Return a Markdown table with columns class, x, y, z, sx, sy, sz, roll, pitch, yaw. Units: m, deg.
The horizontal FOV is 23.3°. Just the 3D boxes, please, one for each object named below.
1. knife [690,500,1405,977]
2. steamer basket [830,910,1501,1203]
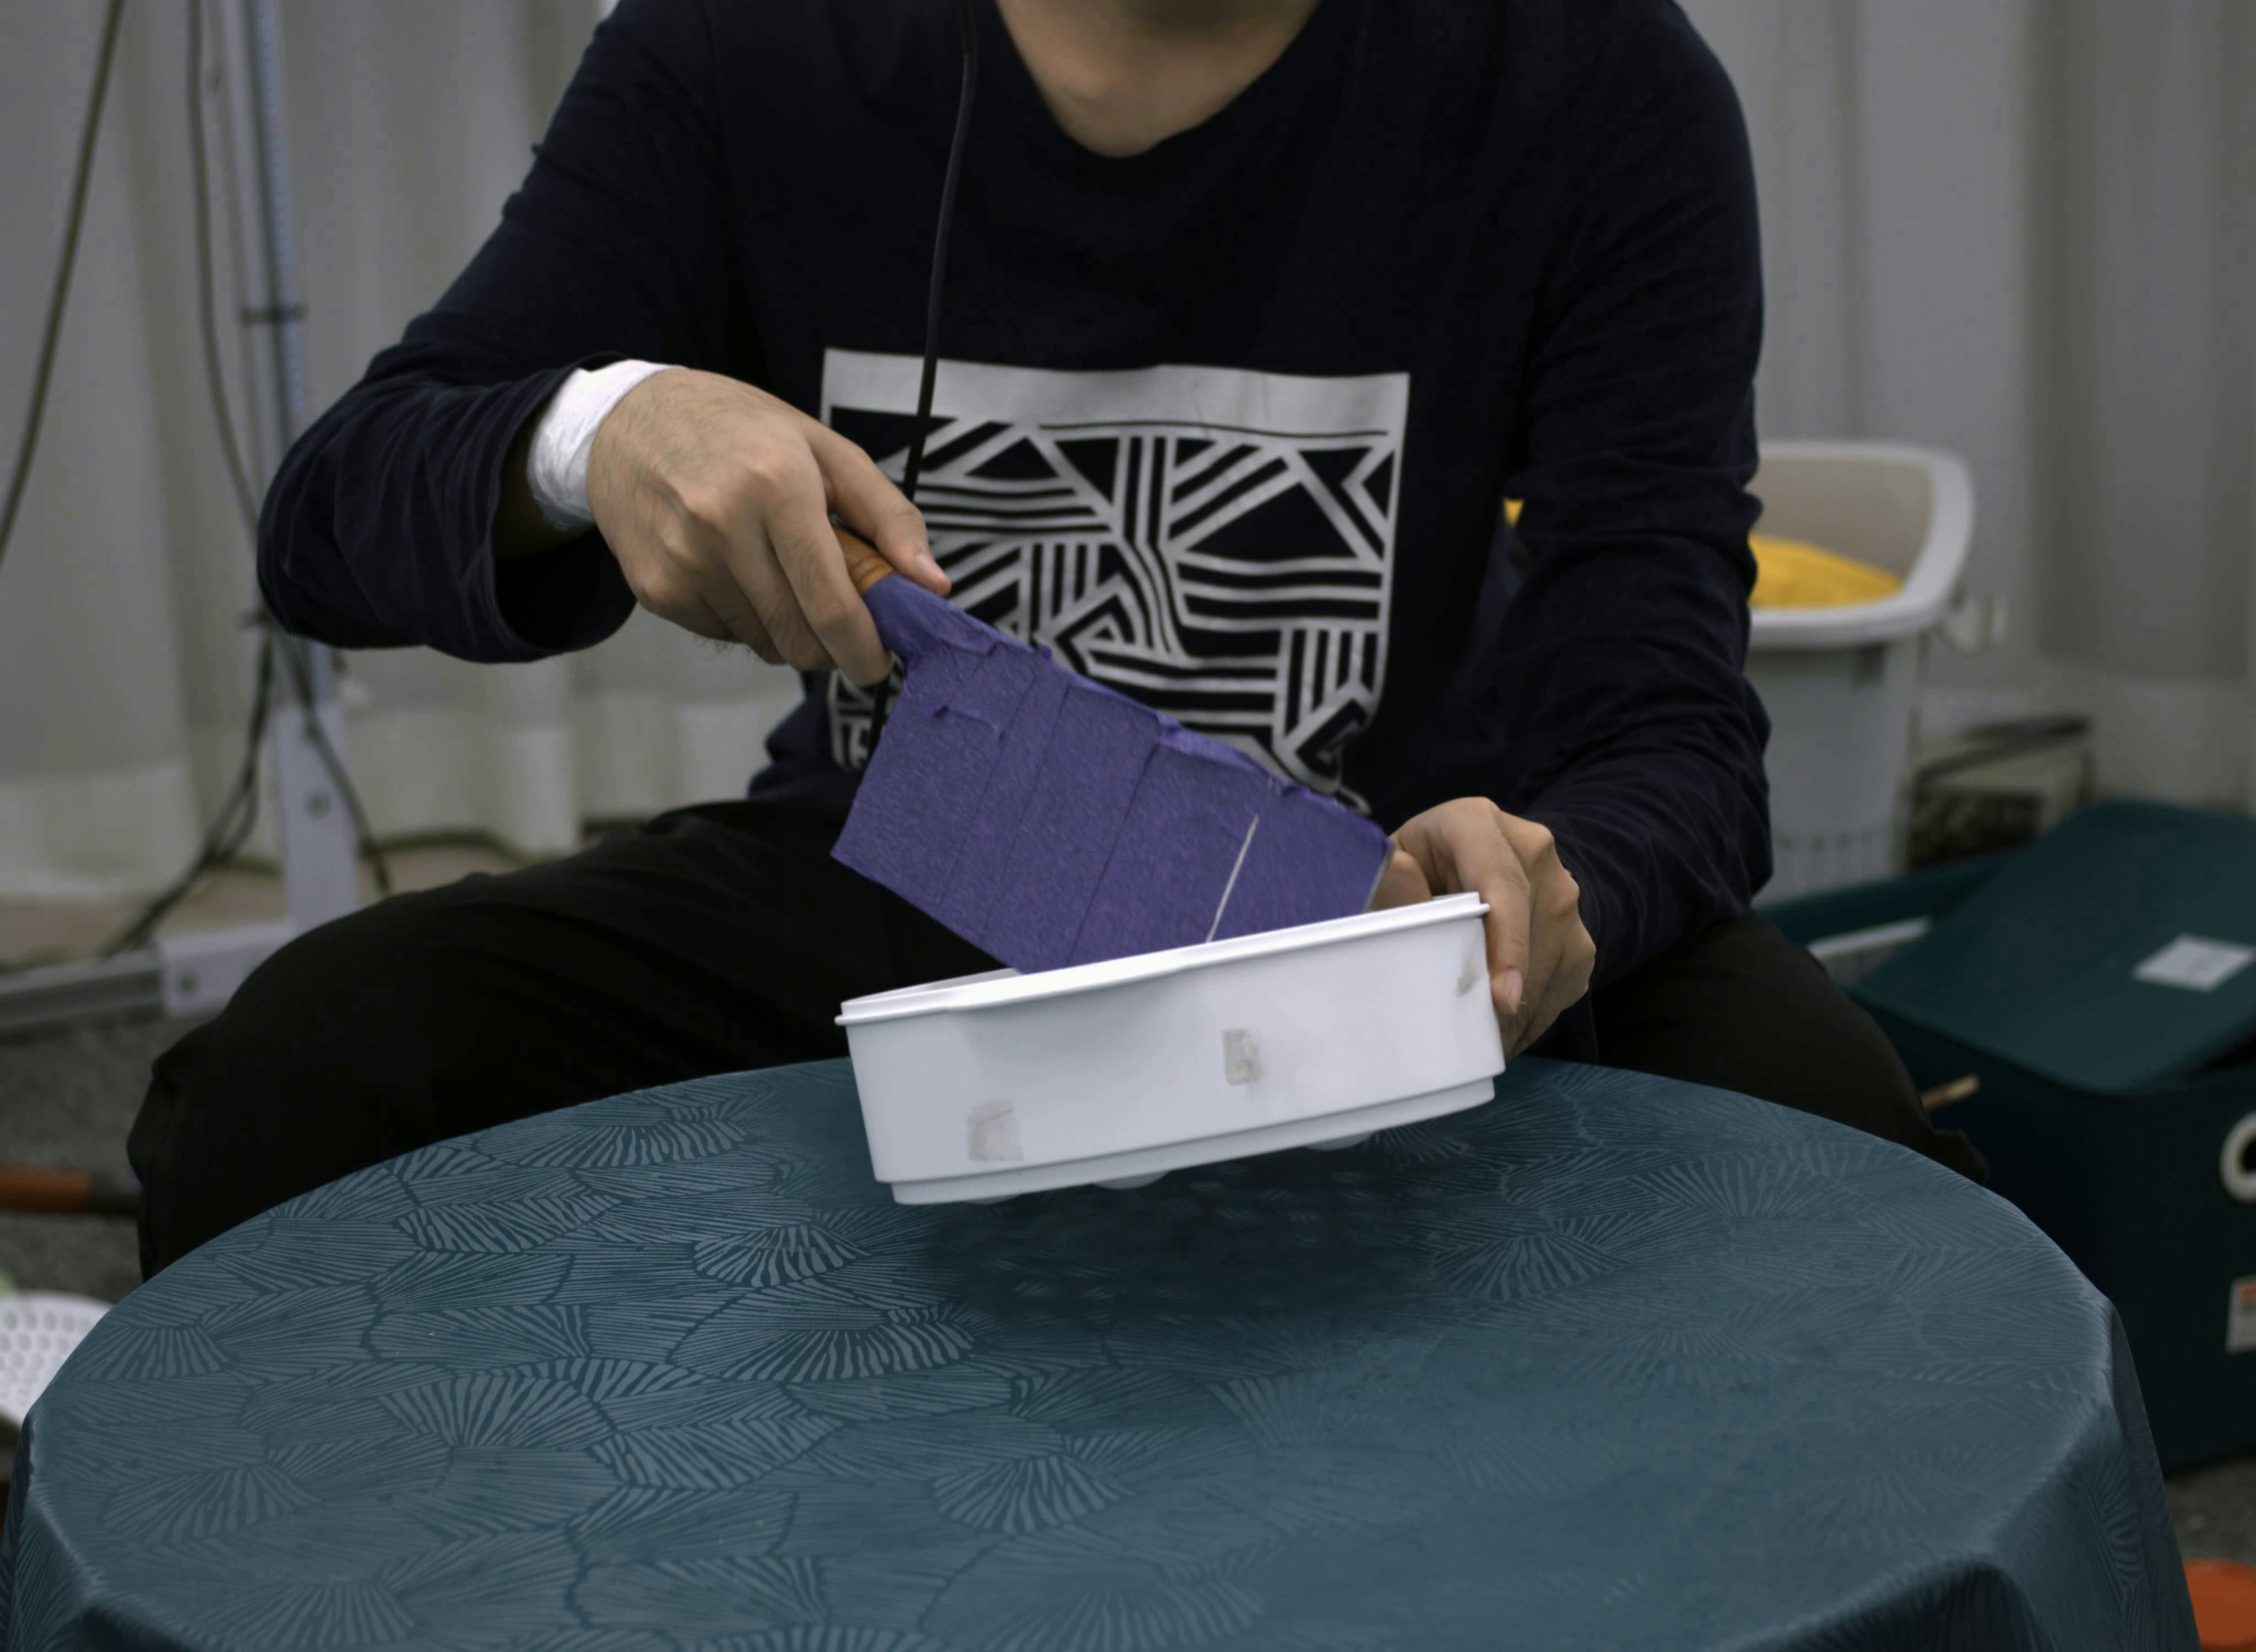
| class | x | y | z | sx | sy | sz | roll | pitch | yaw |
| --- | --- | --- | --- | --- | --- | --- | --- | --- | --- |
| knife | -0.043 | -0.013 | 1.697 | 0.318 | 0.104 | 0.032 | 28 | 6 | 43 |
| steamer basket | 0.014 | 0.071 | 1.647 | 0.201 | 0.069 | 0.230 | -9 | -3 | 19 |
